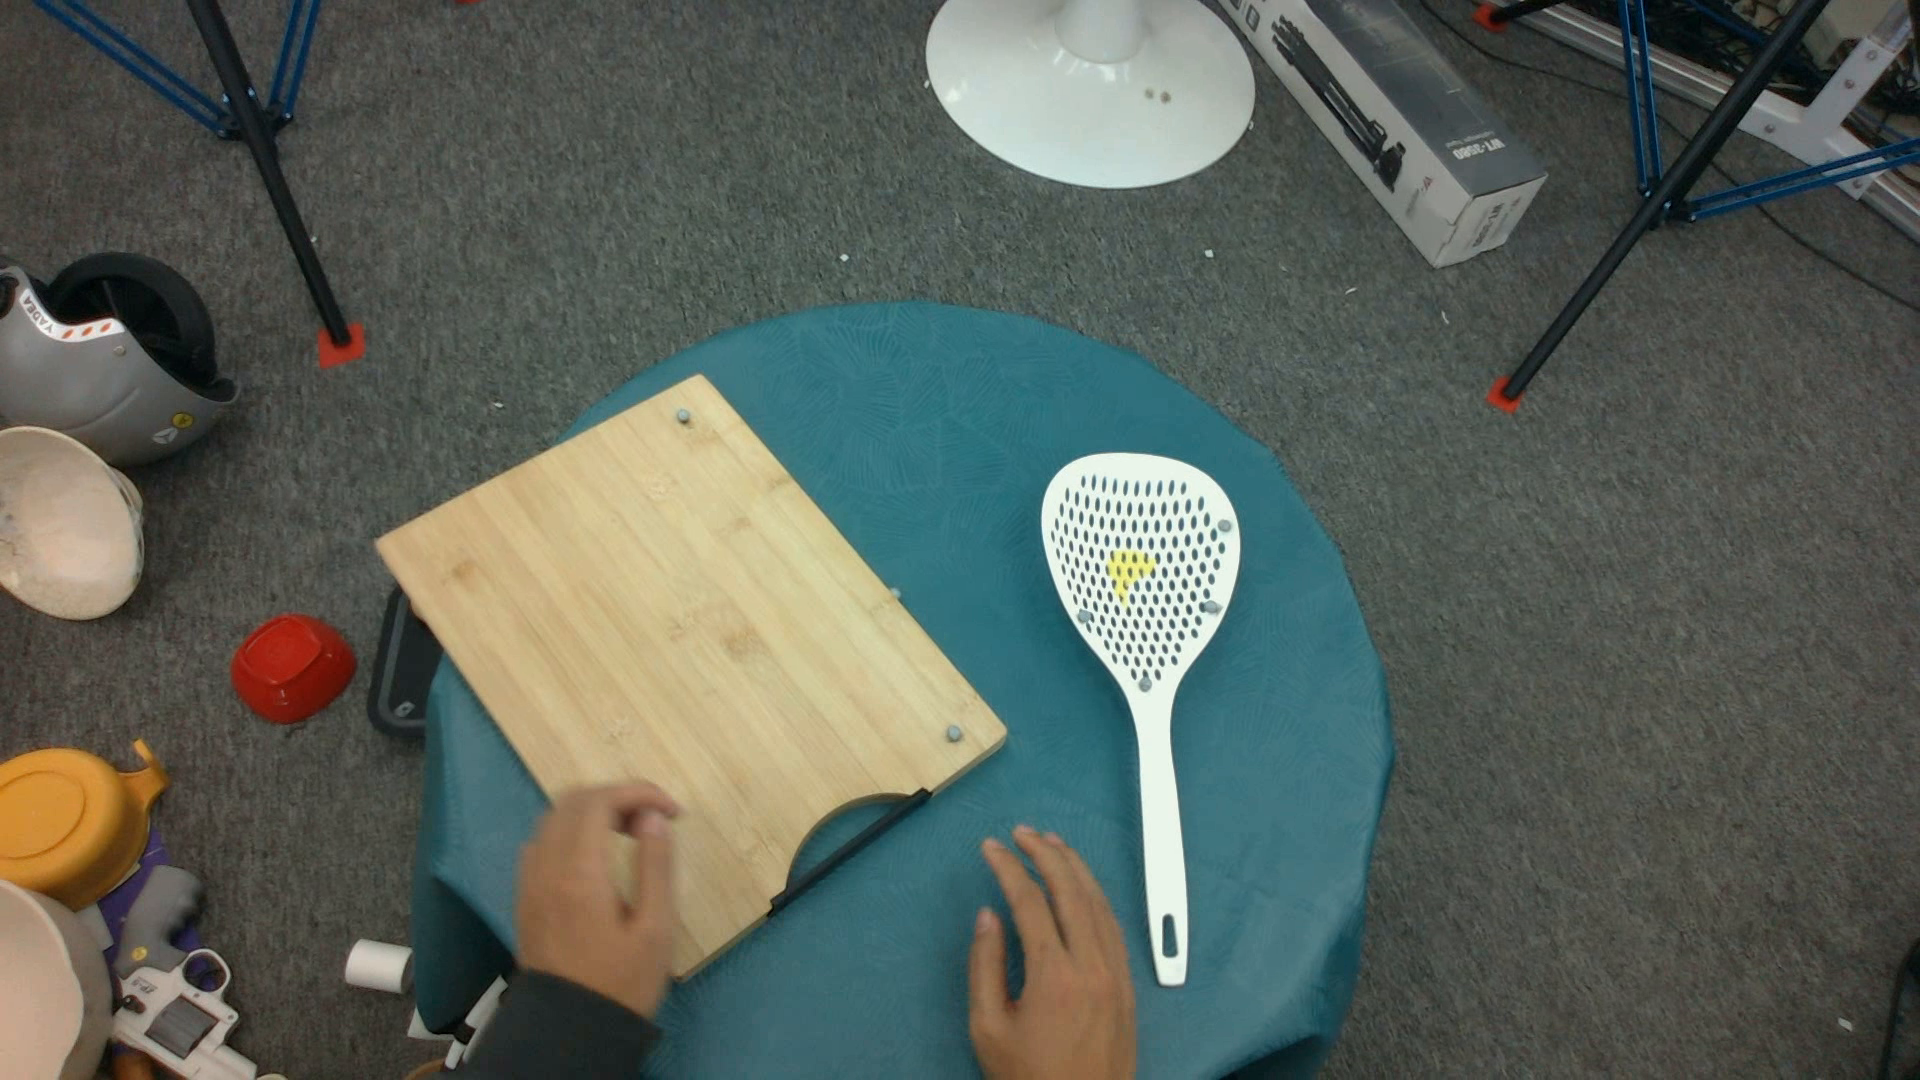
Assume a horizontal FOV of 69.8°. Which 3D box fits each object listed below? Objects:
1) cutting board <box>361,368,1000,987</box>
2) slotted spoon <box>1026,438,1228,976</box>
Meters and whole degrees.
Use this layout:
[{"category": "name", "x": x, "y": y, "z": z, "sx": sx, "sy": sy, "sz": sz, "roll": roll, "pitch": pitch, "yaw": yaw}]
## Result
[{"category": "cutting board", "x": -0.175, "y": 0.061, "z": 0.856, "sx": 0.251, "sy": 0.023, "sz": 0.349, "roll": -34, "pitch": 69, "yaw": -25}, {"category": "slotted spoon", "x": 0.111, "y": 0.091, "z": 0.865, "sx": 0.137, "sy": 0.050, "sz": 0.349, "roll": 3, "pitch": 58, "yaw": -9}]
